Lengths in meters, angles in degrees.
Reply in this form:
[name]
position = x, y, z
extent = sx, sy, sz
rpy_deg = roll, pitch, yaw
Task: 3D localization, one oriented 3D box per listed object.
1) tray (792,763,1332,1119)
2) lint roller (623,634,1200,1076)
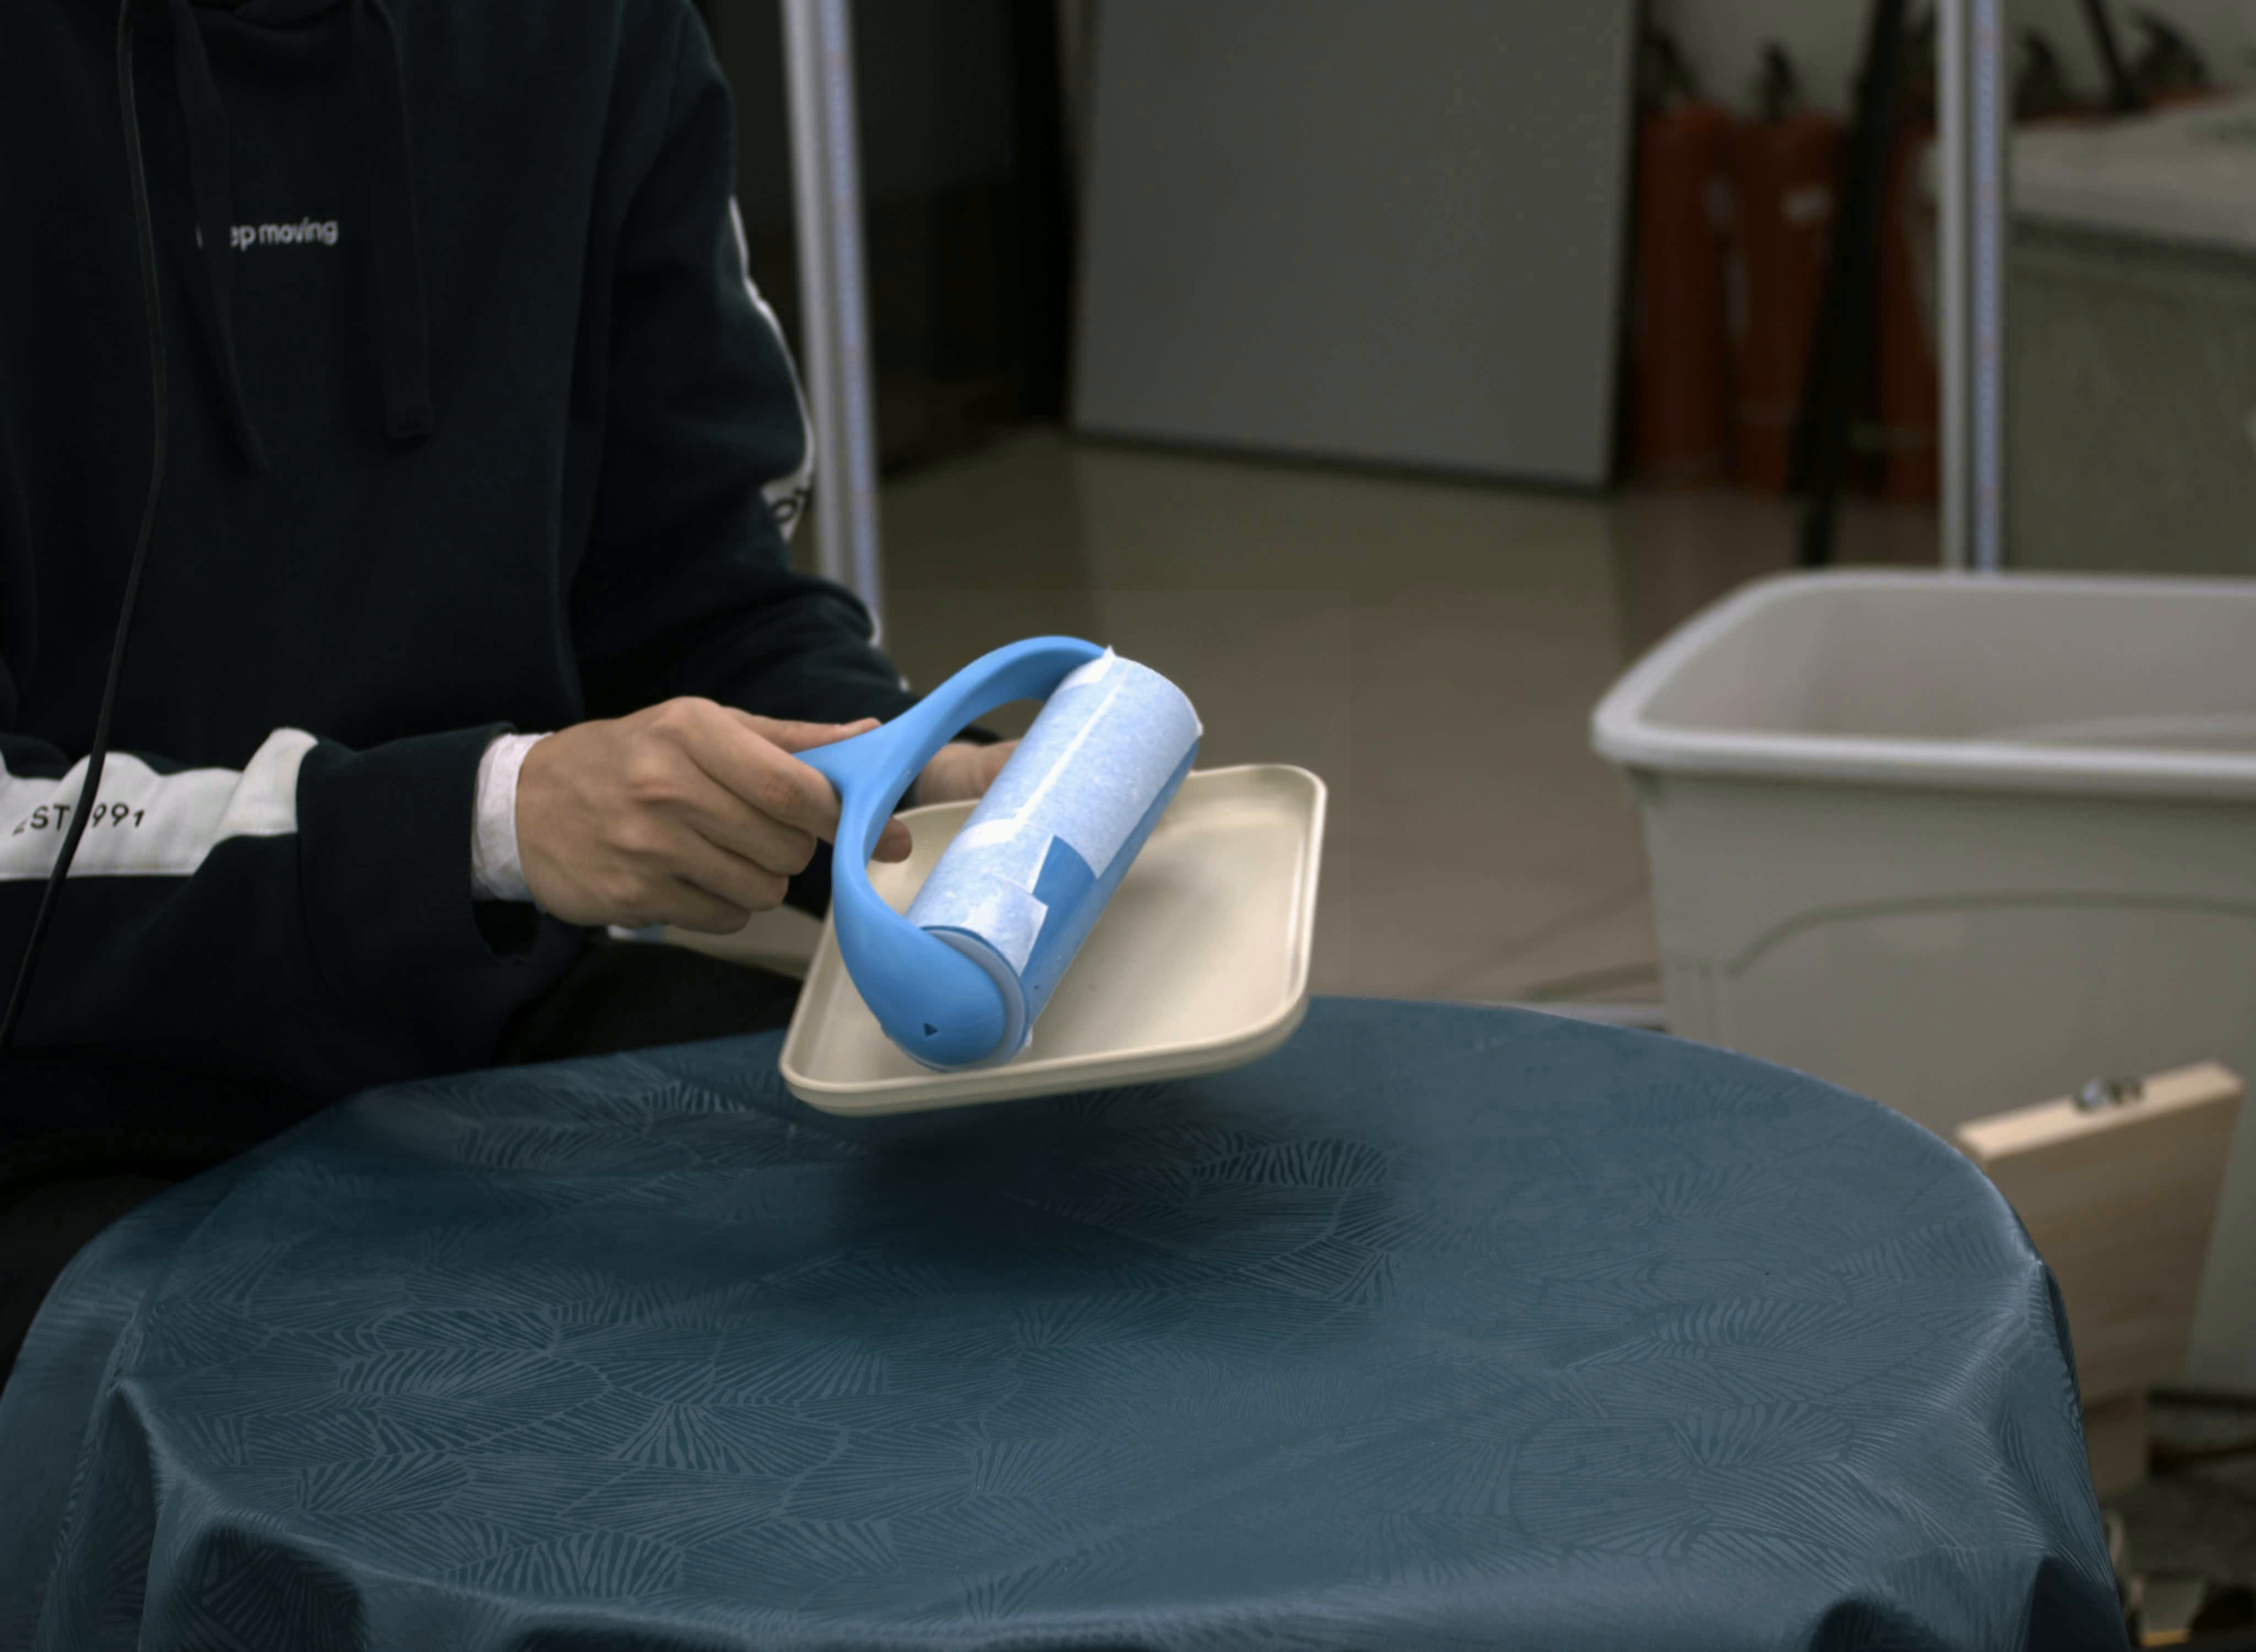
[tray]
position = -0.017, 0.037, 1.781
extent = 0.170, 0.017, 0.239
rpy_deg = -8, 21, 8
[lint roller]
position = -0.084, 0.005, 1.767
extent = 0.179, 0.068, 0.228
rpy_deg = 4, 30, 15
